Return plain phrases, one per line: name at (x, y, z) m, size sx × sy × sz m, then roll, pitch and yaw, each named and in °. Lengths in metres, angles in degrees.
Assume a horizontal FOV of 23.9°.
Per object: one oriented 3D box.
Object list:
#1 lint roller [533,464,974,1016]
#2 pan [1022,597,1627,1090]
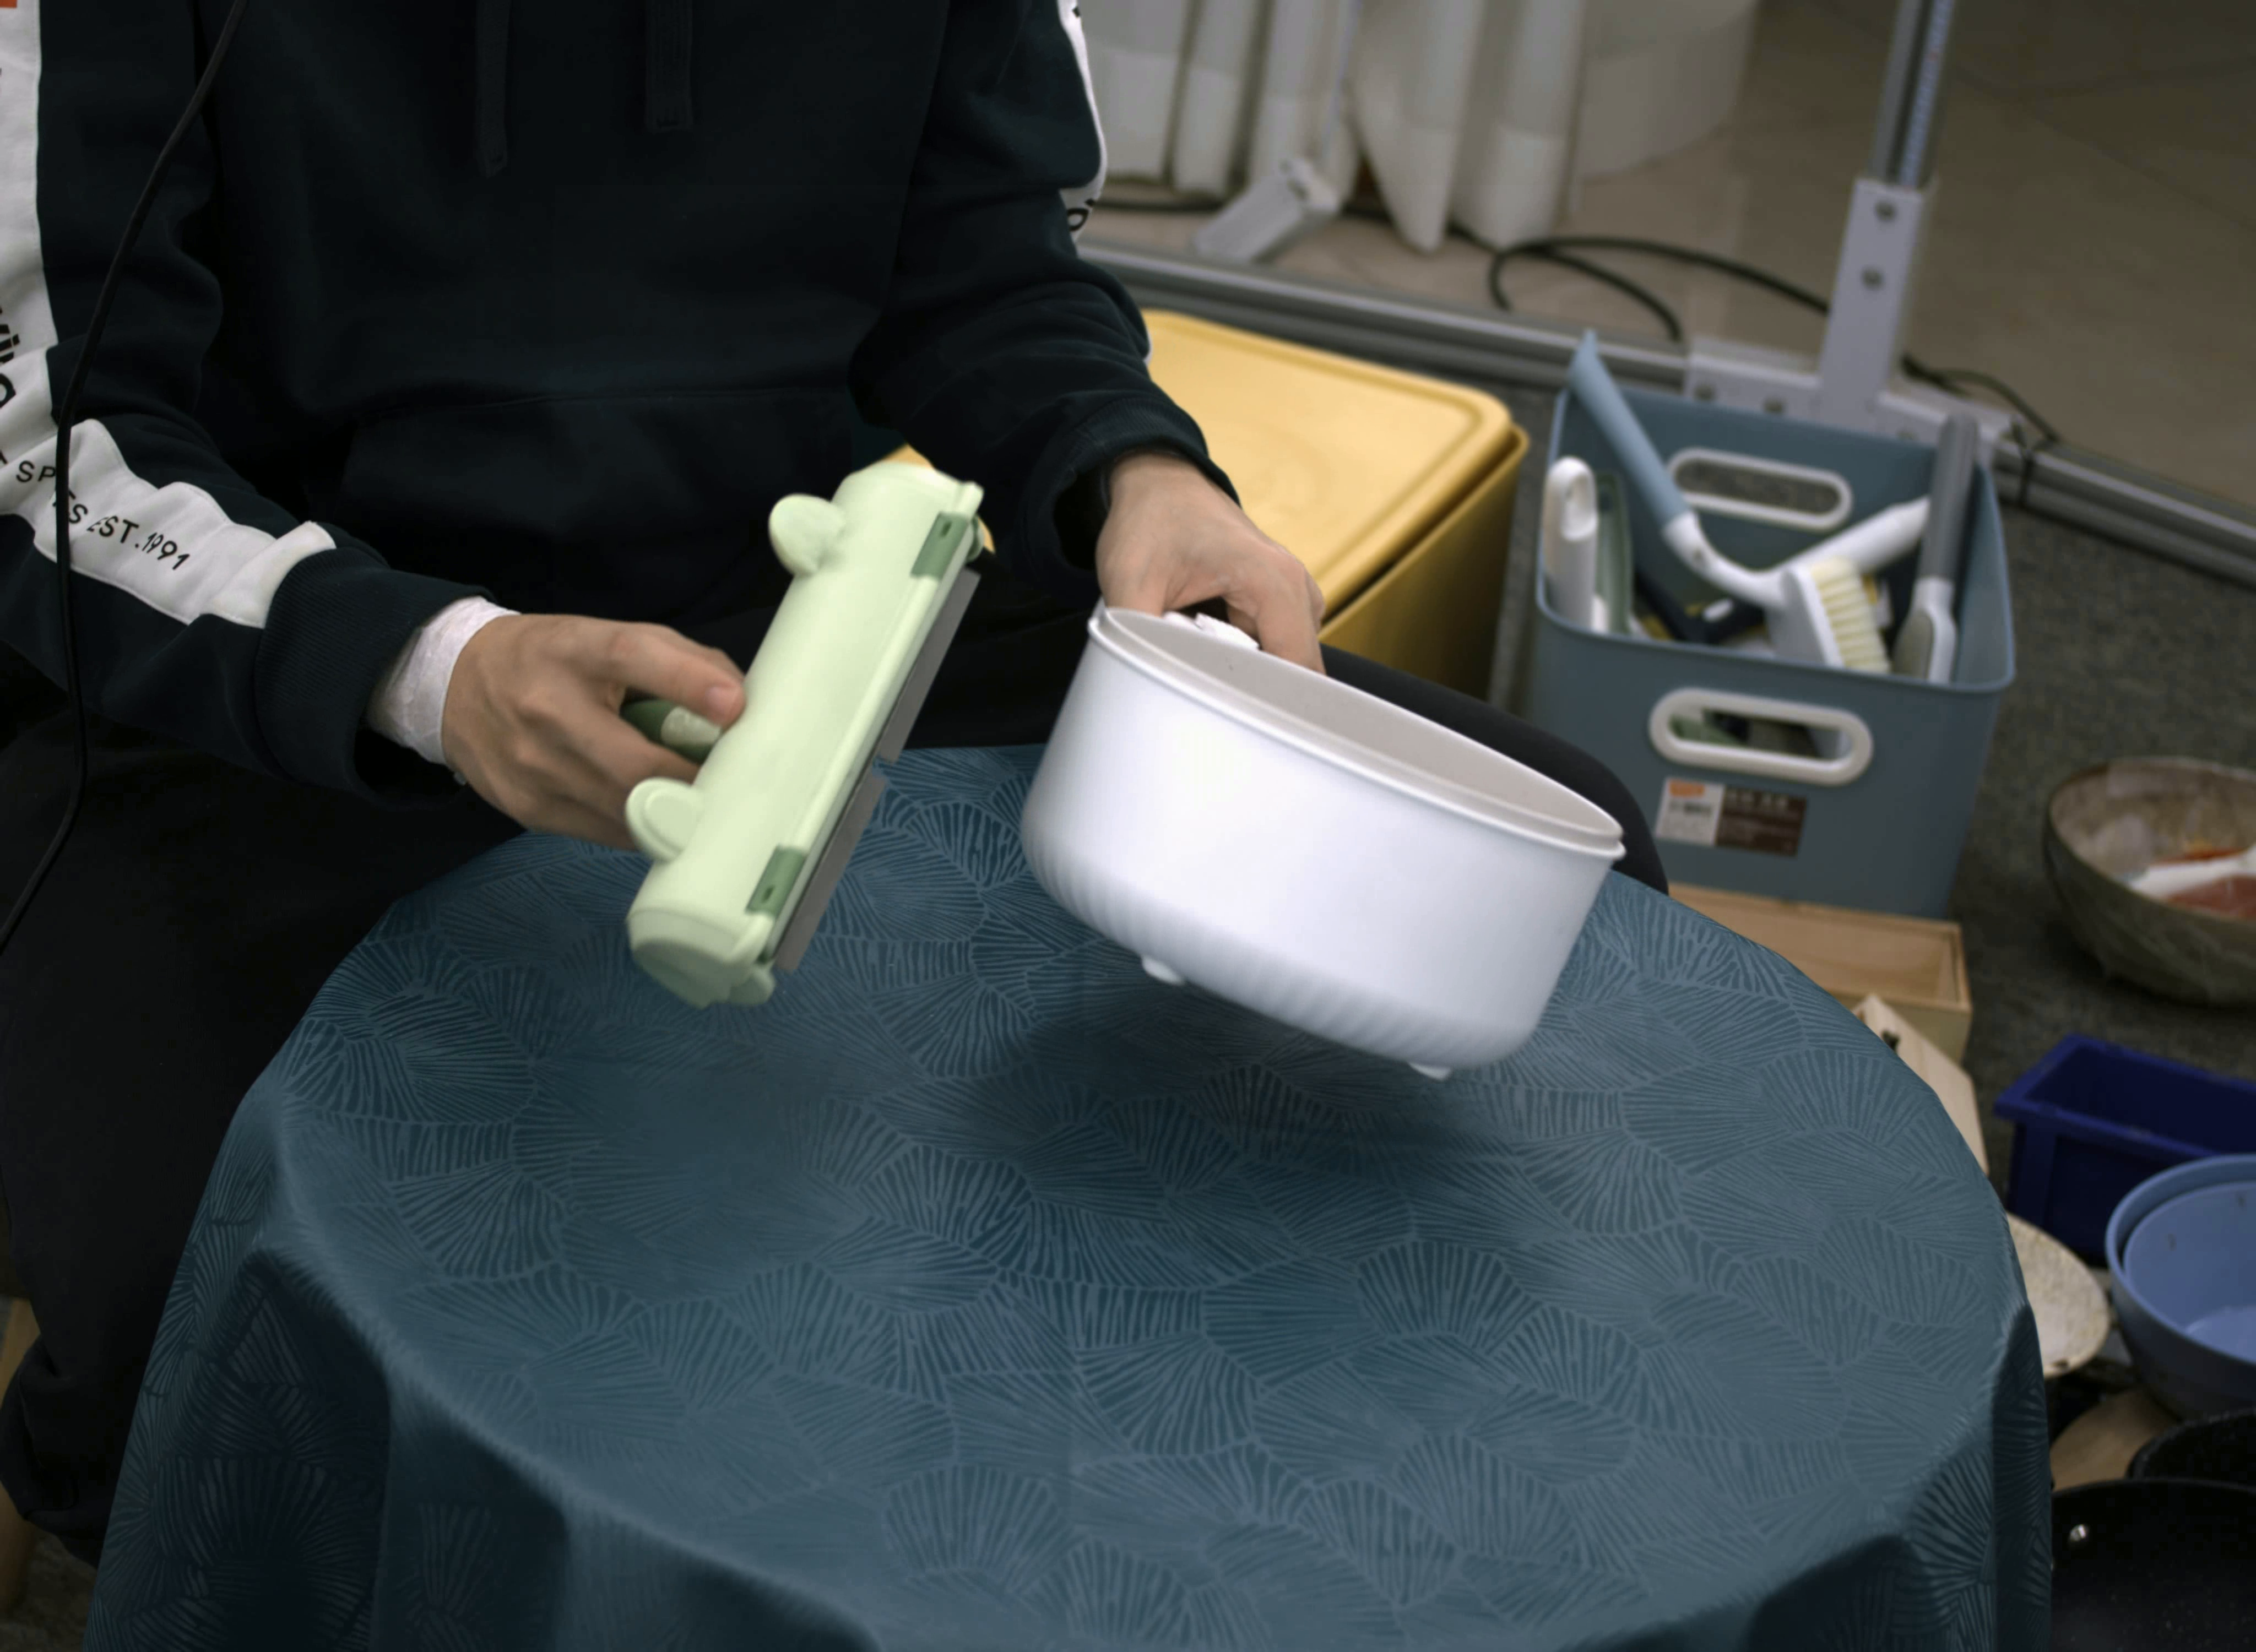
lint roller at (-0.155, -0.035, 1.810) m, size 0.184 × 0.081 × 0.199 m, roll 2°, pitch 58°, yaw 41°
pan at (0.042, -0.003, 1.911) m, size 0.200 × 0.102 × 0.357 m, roll 19°, pitch 7°, yaw -19°
